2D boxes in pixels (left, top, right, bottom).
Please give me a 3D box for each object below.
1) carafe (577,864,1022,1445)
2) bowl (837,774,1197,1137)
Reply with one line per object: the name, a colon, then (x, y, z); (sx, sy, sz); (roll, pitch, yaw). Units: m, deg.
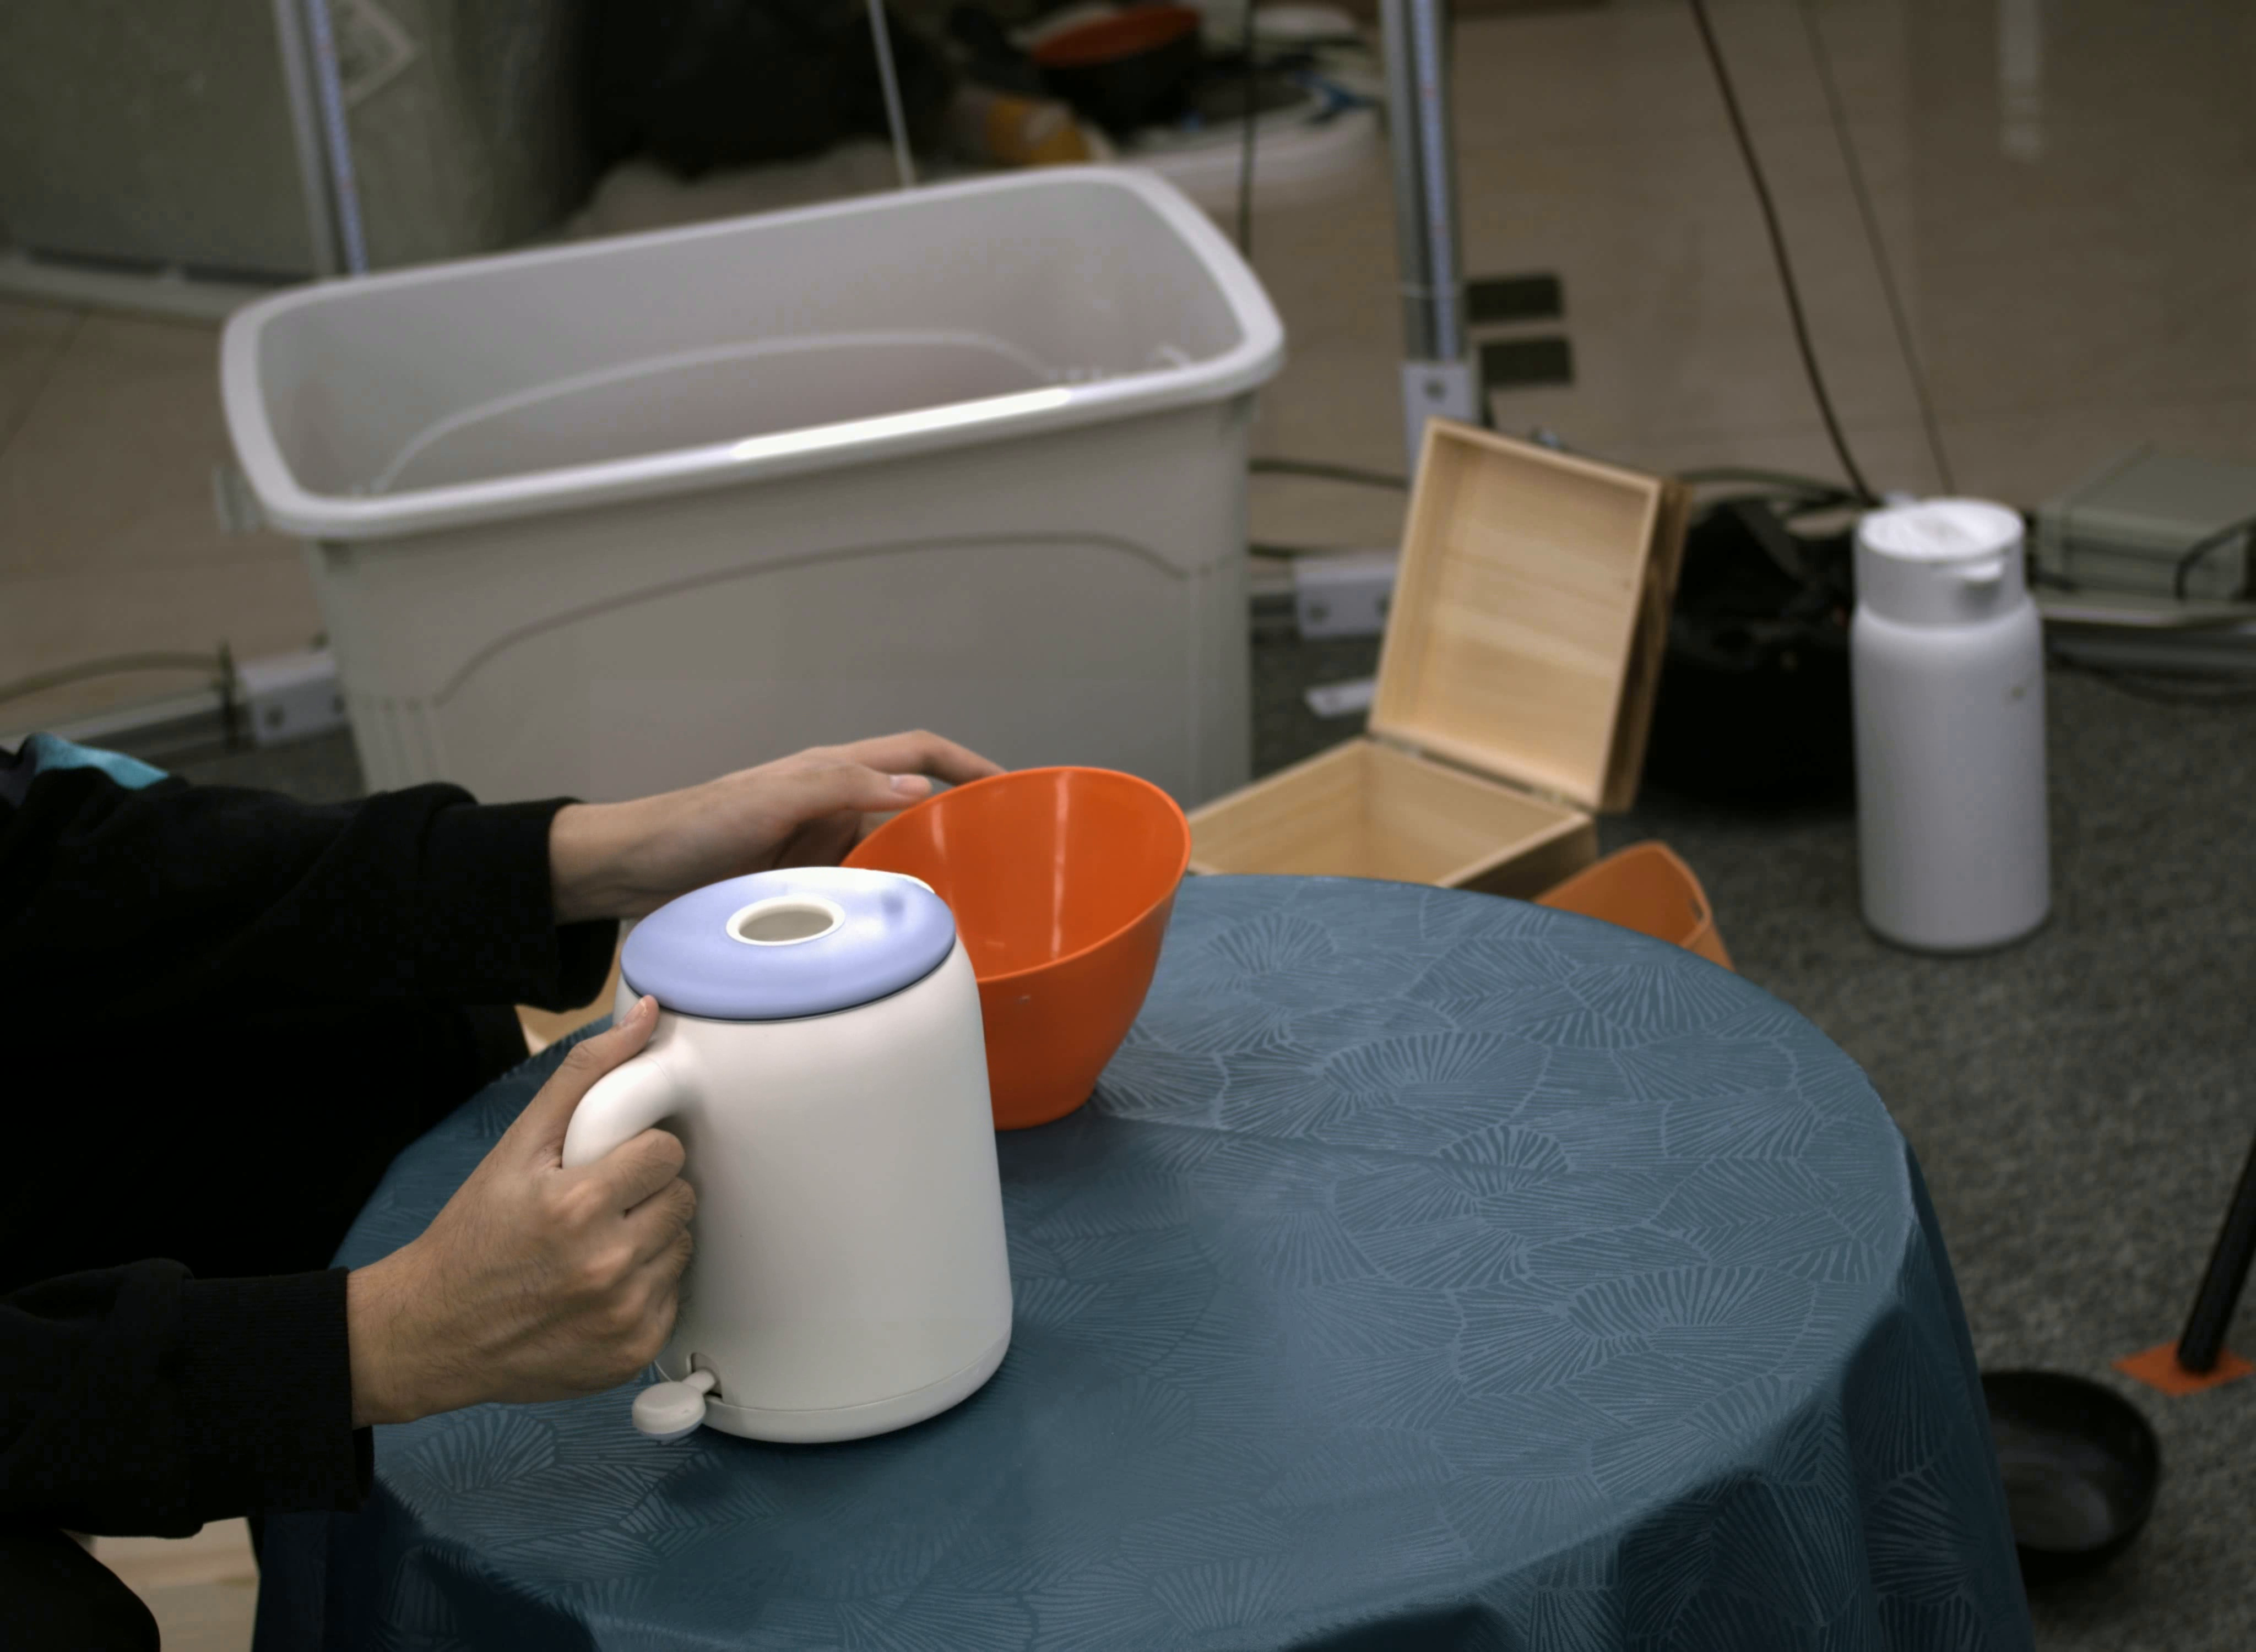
carafe: (-0.126, 0.125, 1.996); (0.131, 0.185, 0.189); (12, 32, 37)
bowl: (-0.042, 0.056, 2.211); (0.148, 0.106, 0.146); (-5, 25, 2)
